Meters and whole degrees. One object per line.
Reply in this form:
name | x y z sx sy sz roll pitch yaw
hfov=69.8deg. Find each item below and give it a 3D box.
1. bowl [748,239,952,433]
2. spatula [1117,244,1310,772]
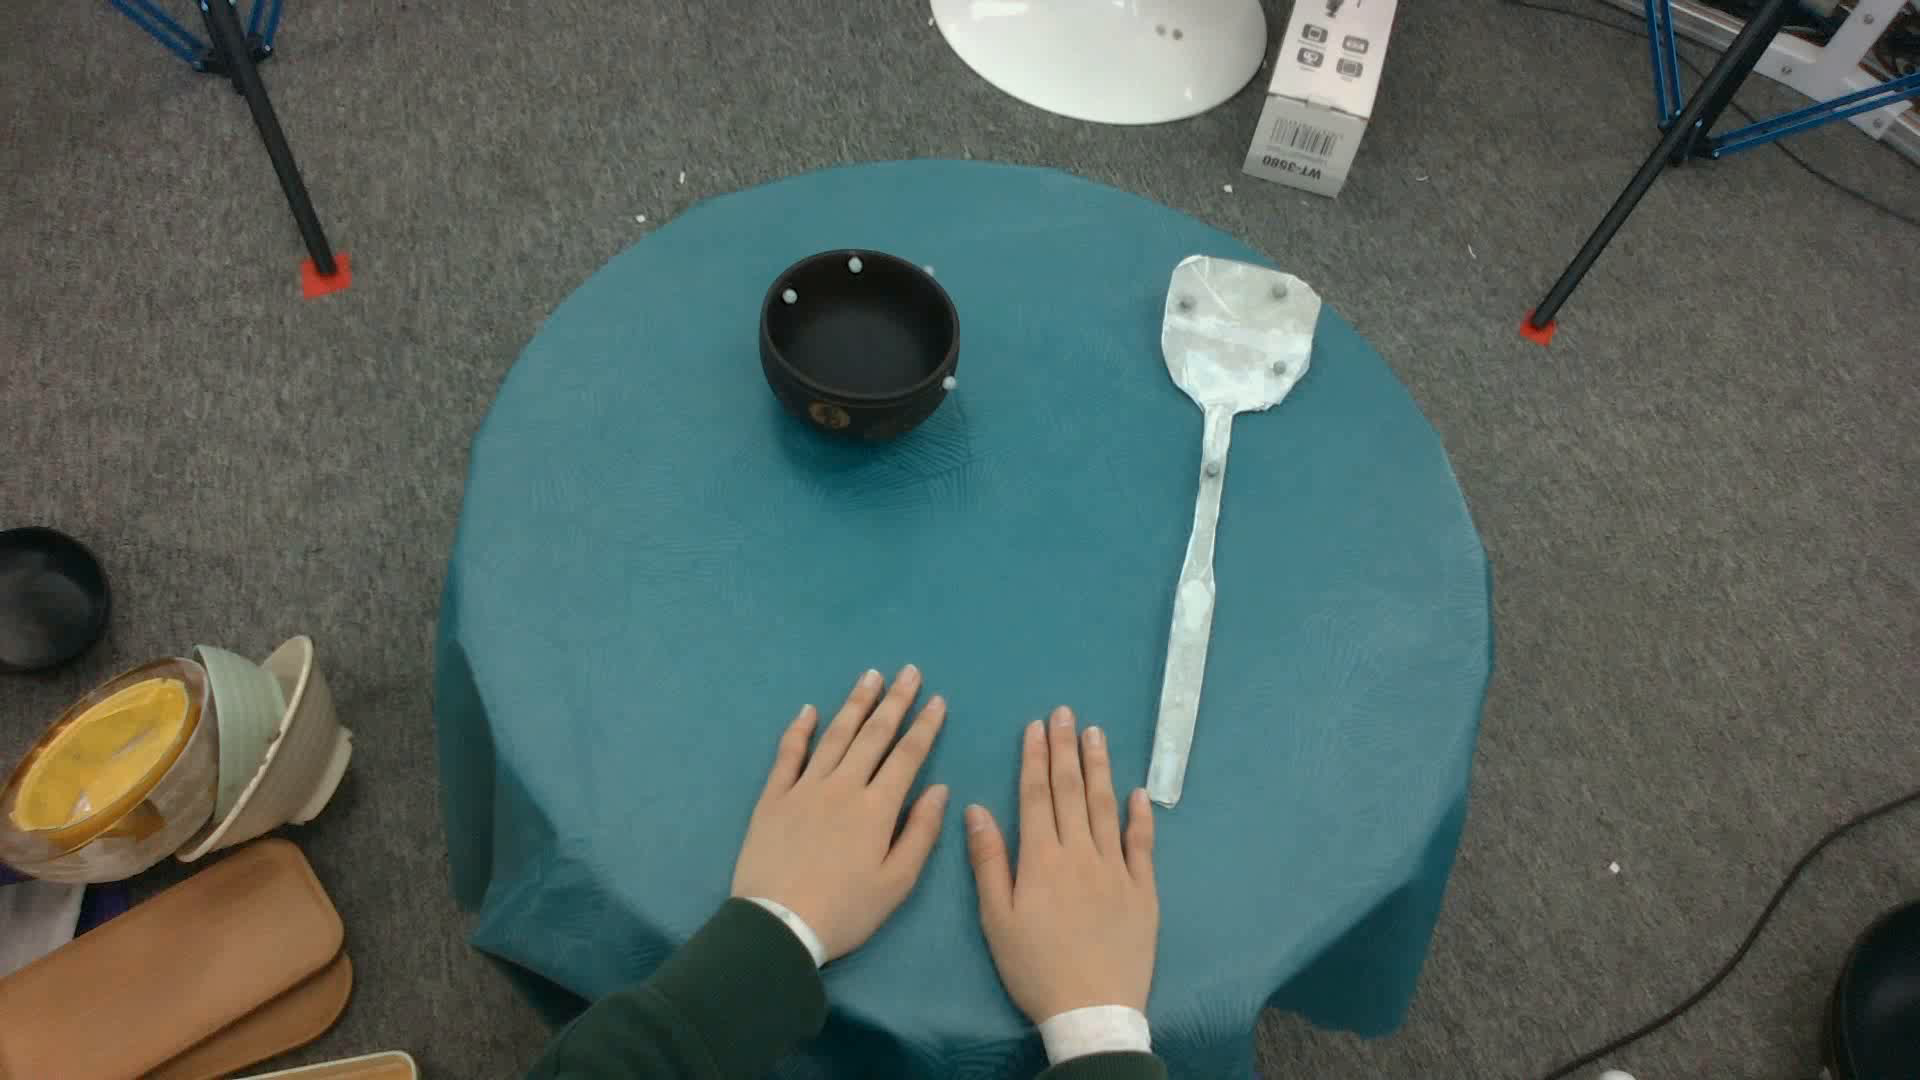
bowl | -0.065 -0.112 0.812 0.118 0.069 0.118 3 57 -5
spatula | 0.139 -0.031 0.811 0.099 0.044 0.366 16 56 0
